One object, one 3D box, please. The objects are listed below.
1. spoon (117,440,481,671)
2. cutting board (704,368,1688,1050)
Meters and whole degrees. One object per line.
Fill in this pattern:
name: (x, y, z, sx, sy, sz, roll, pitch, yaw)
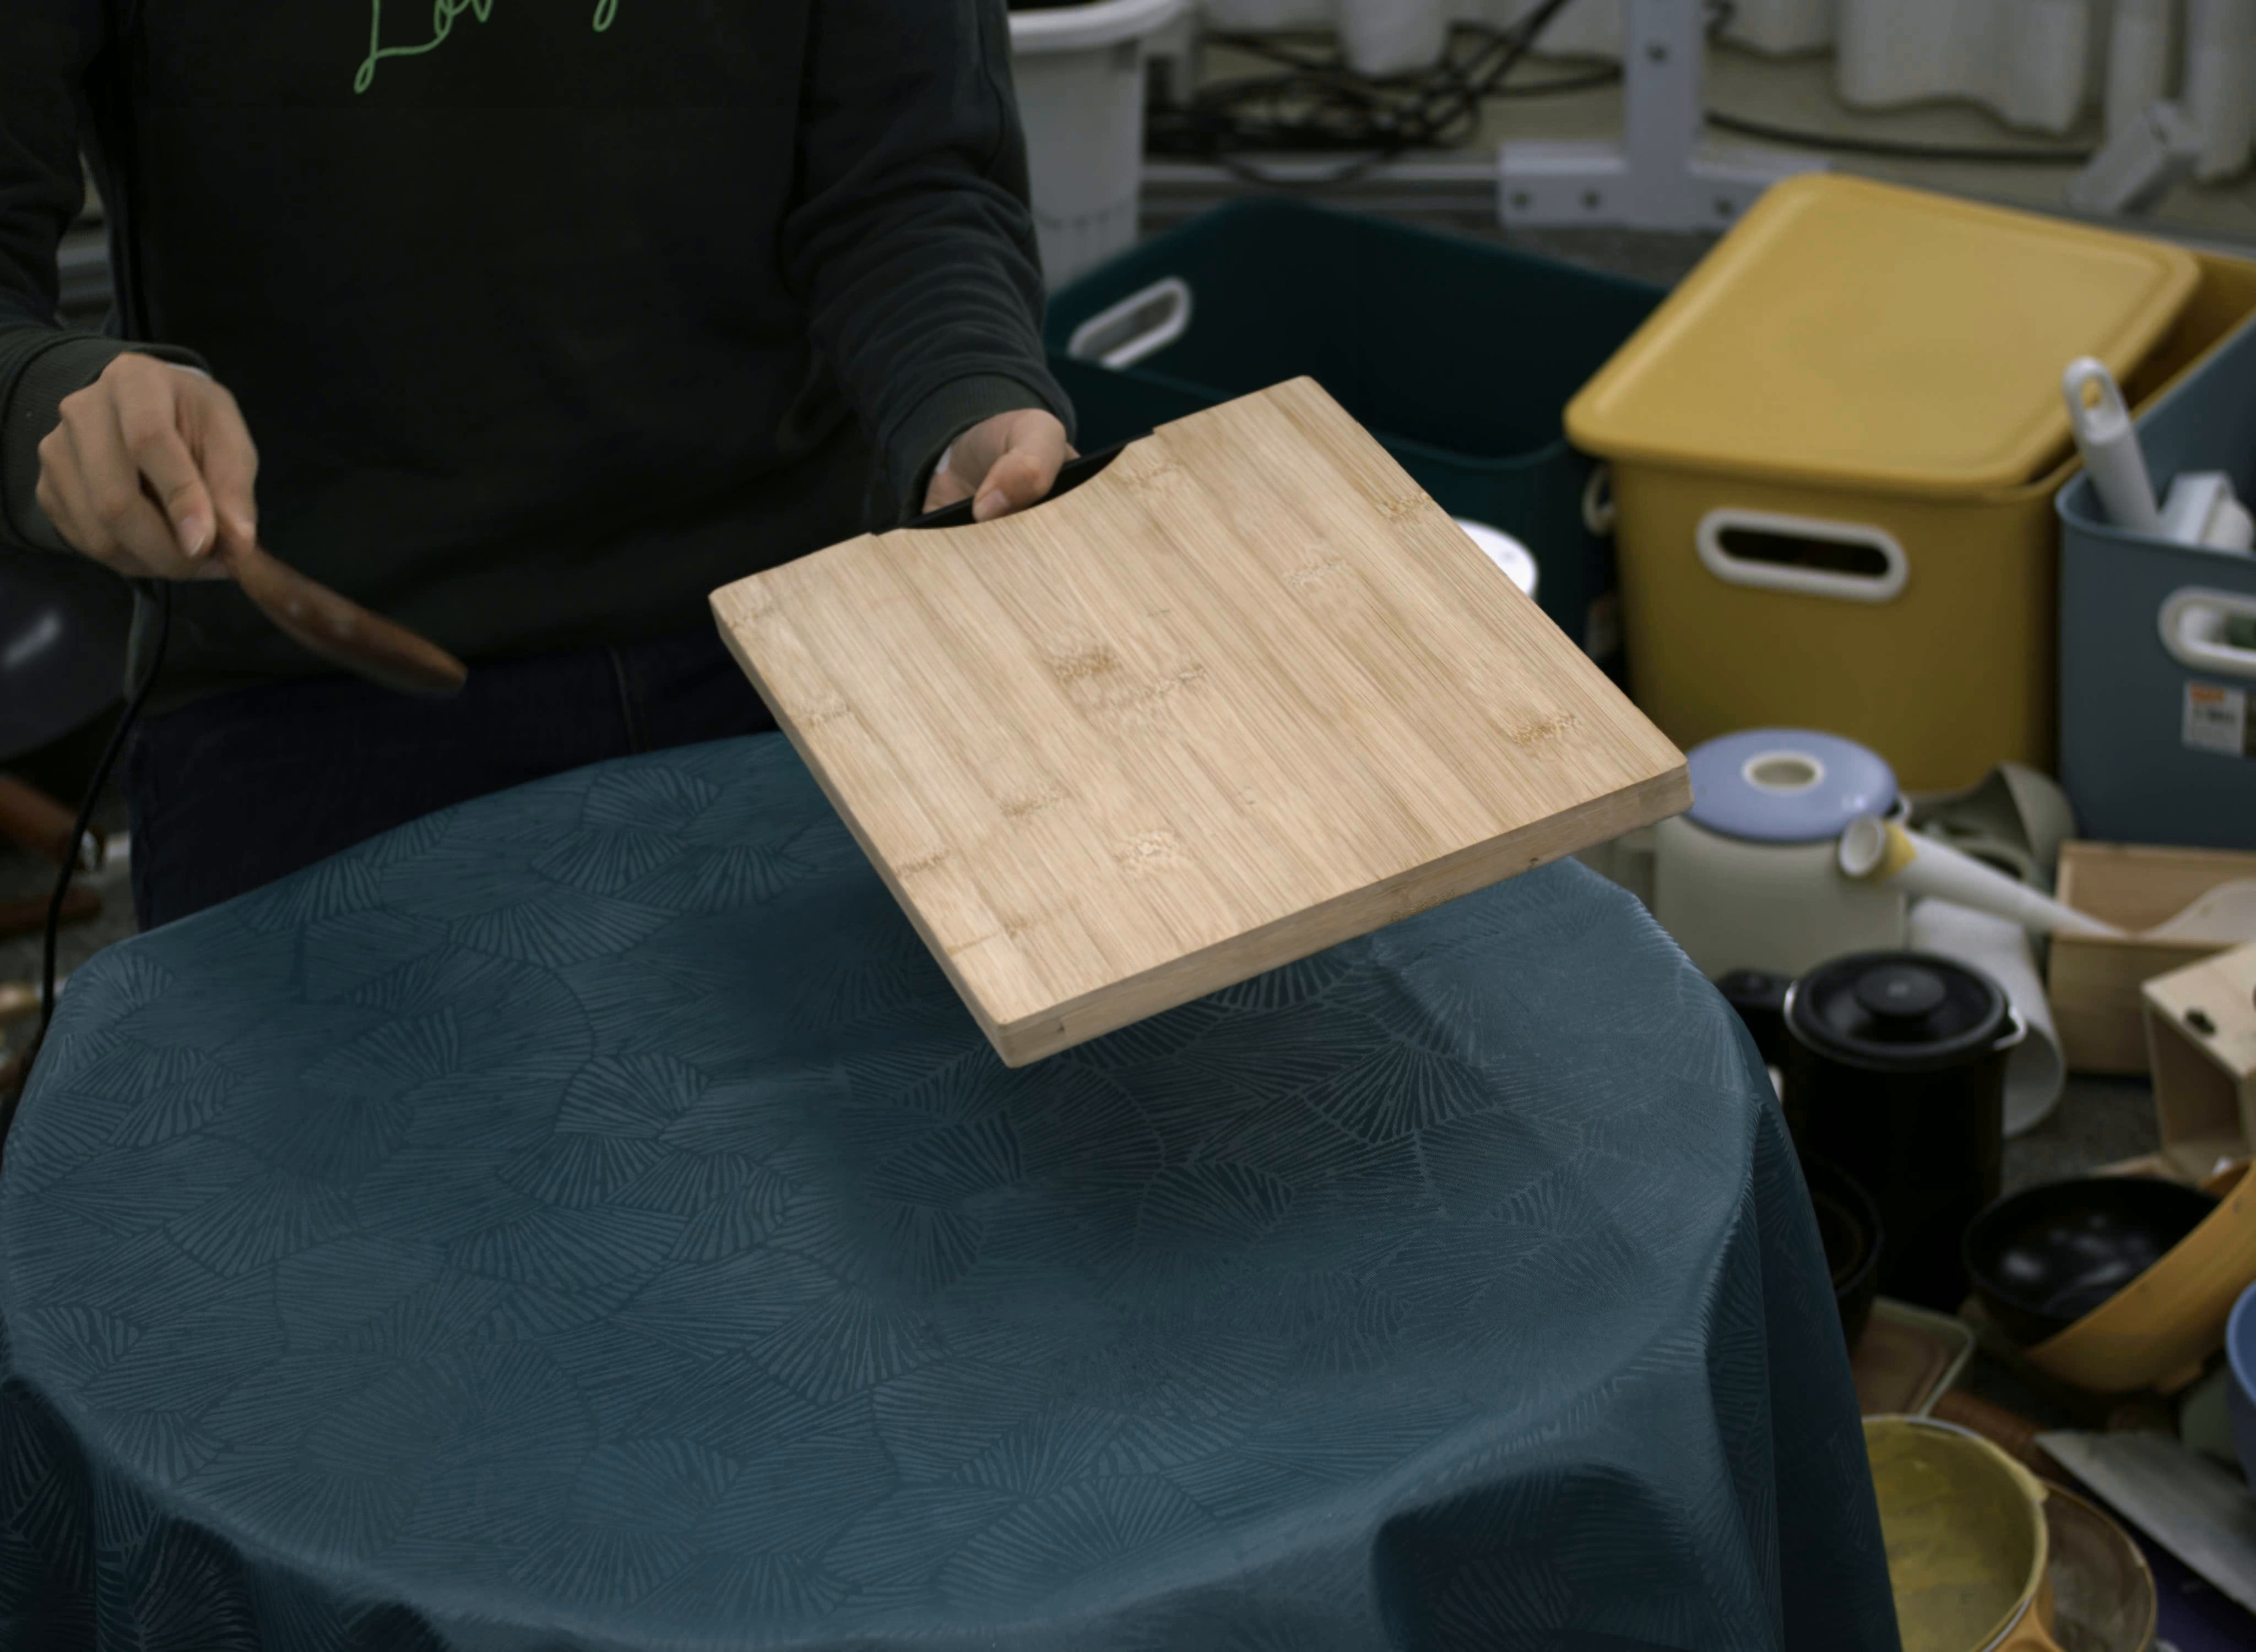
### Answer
spoon: (-0.278, -0.087, 1.836, 0.075, 0.017, 0.216, 21, 6, -39)
cutting board: (0.013, -0.048, 1.922, 0.251, 0.023, 0.351, -20, 31, -12)
